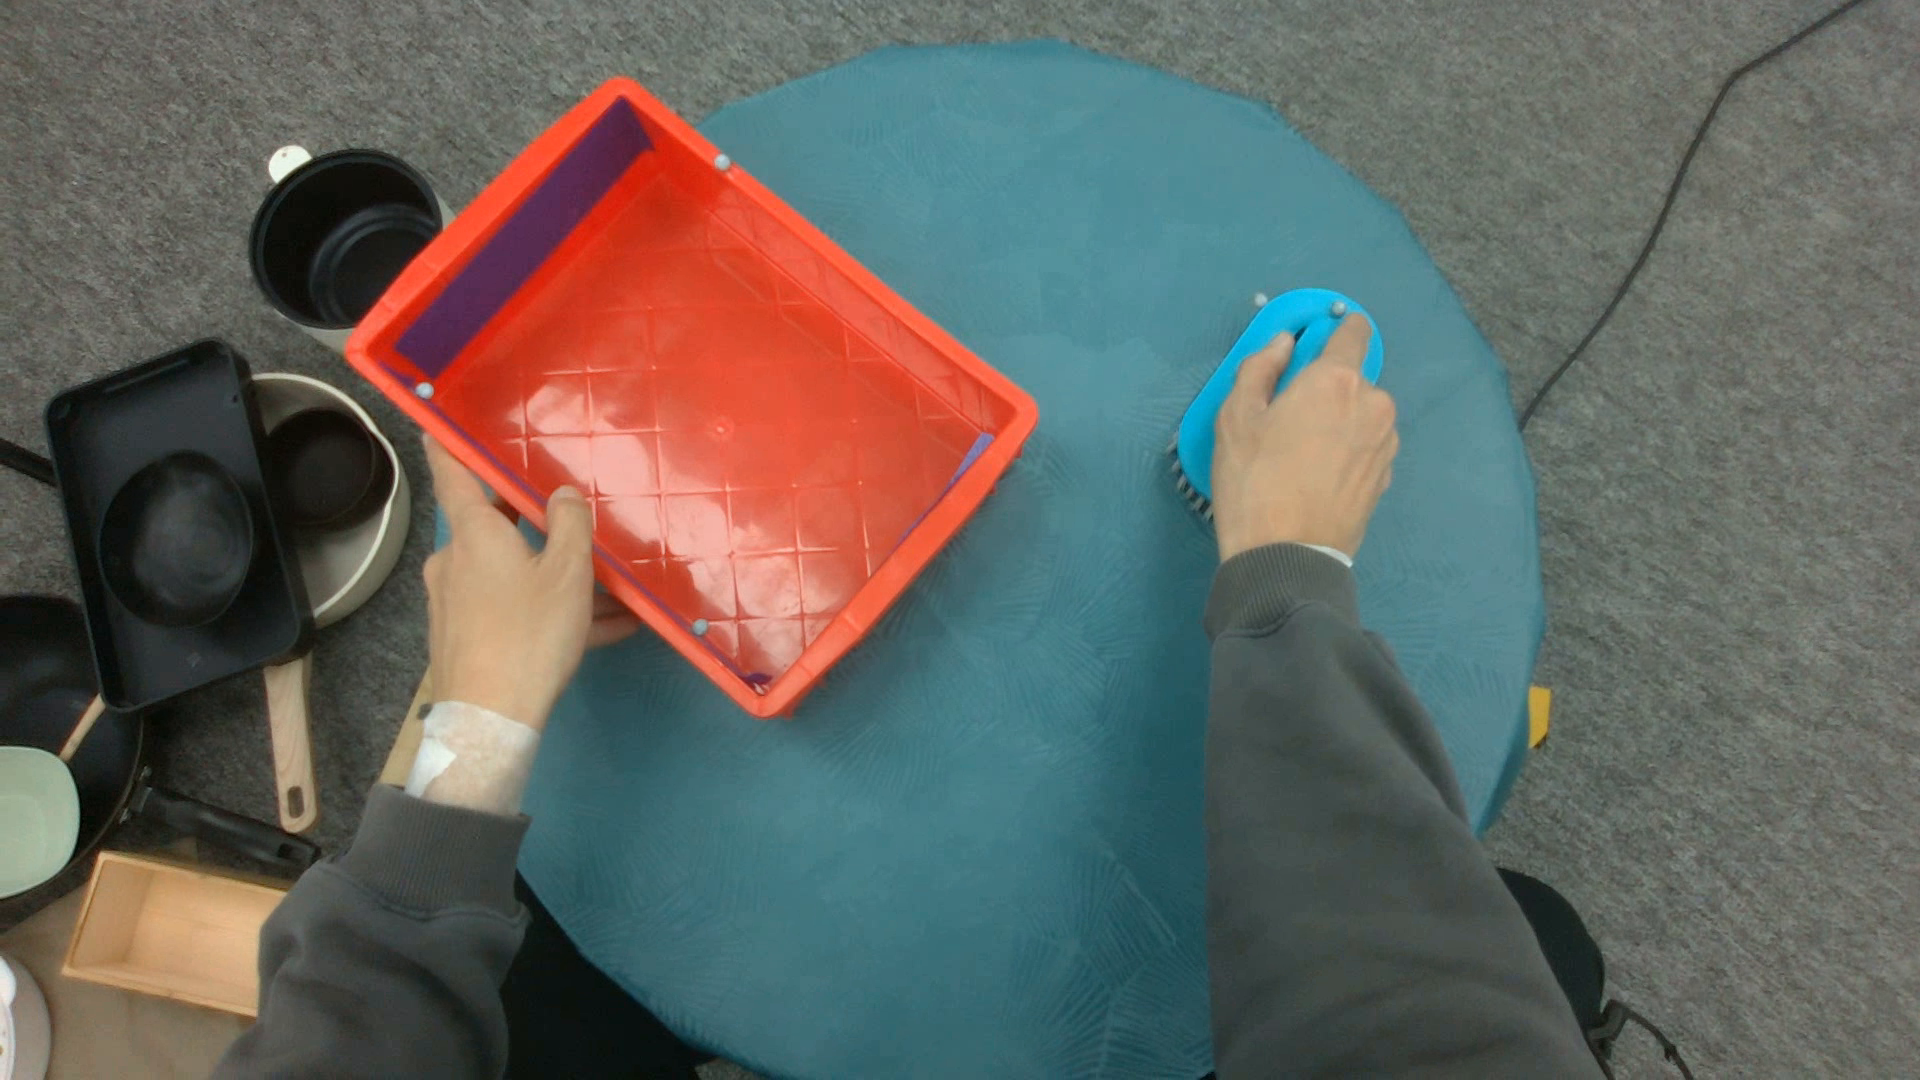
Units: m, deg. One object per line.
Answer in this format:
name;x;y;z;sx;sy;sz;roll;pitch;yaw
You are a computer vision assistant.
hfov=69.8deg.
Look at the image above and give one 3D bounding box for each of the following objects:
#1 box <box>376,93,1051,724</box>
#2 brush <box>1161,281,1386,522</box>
box;-0.125;-0.066;0.740;0.303;0.096;0.207;40;82;12
brush;0.173;-0.075;0.734;0.084;0.063;0.142;38;81;4
